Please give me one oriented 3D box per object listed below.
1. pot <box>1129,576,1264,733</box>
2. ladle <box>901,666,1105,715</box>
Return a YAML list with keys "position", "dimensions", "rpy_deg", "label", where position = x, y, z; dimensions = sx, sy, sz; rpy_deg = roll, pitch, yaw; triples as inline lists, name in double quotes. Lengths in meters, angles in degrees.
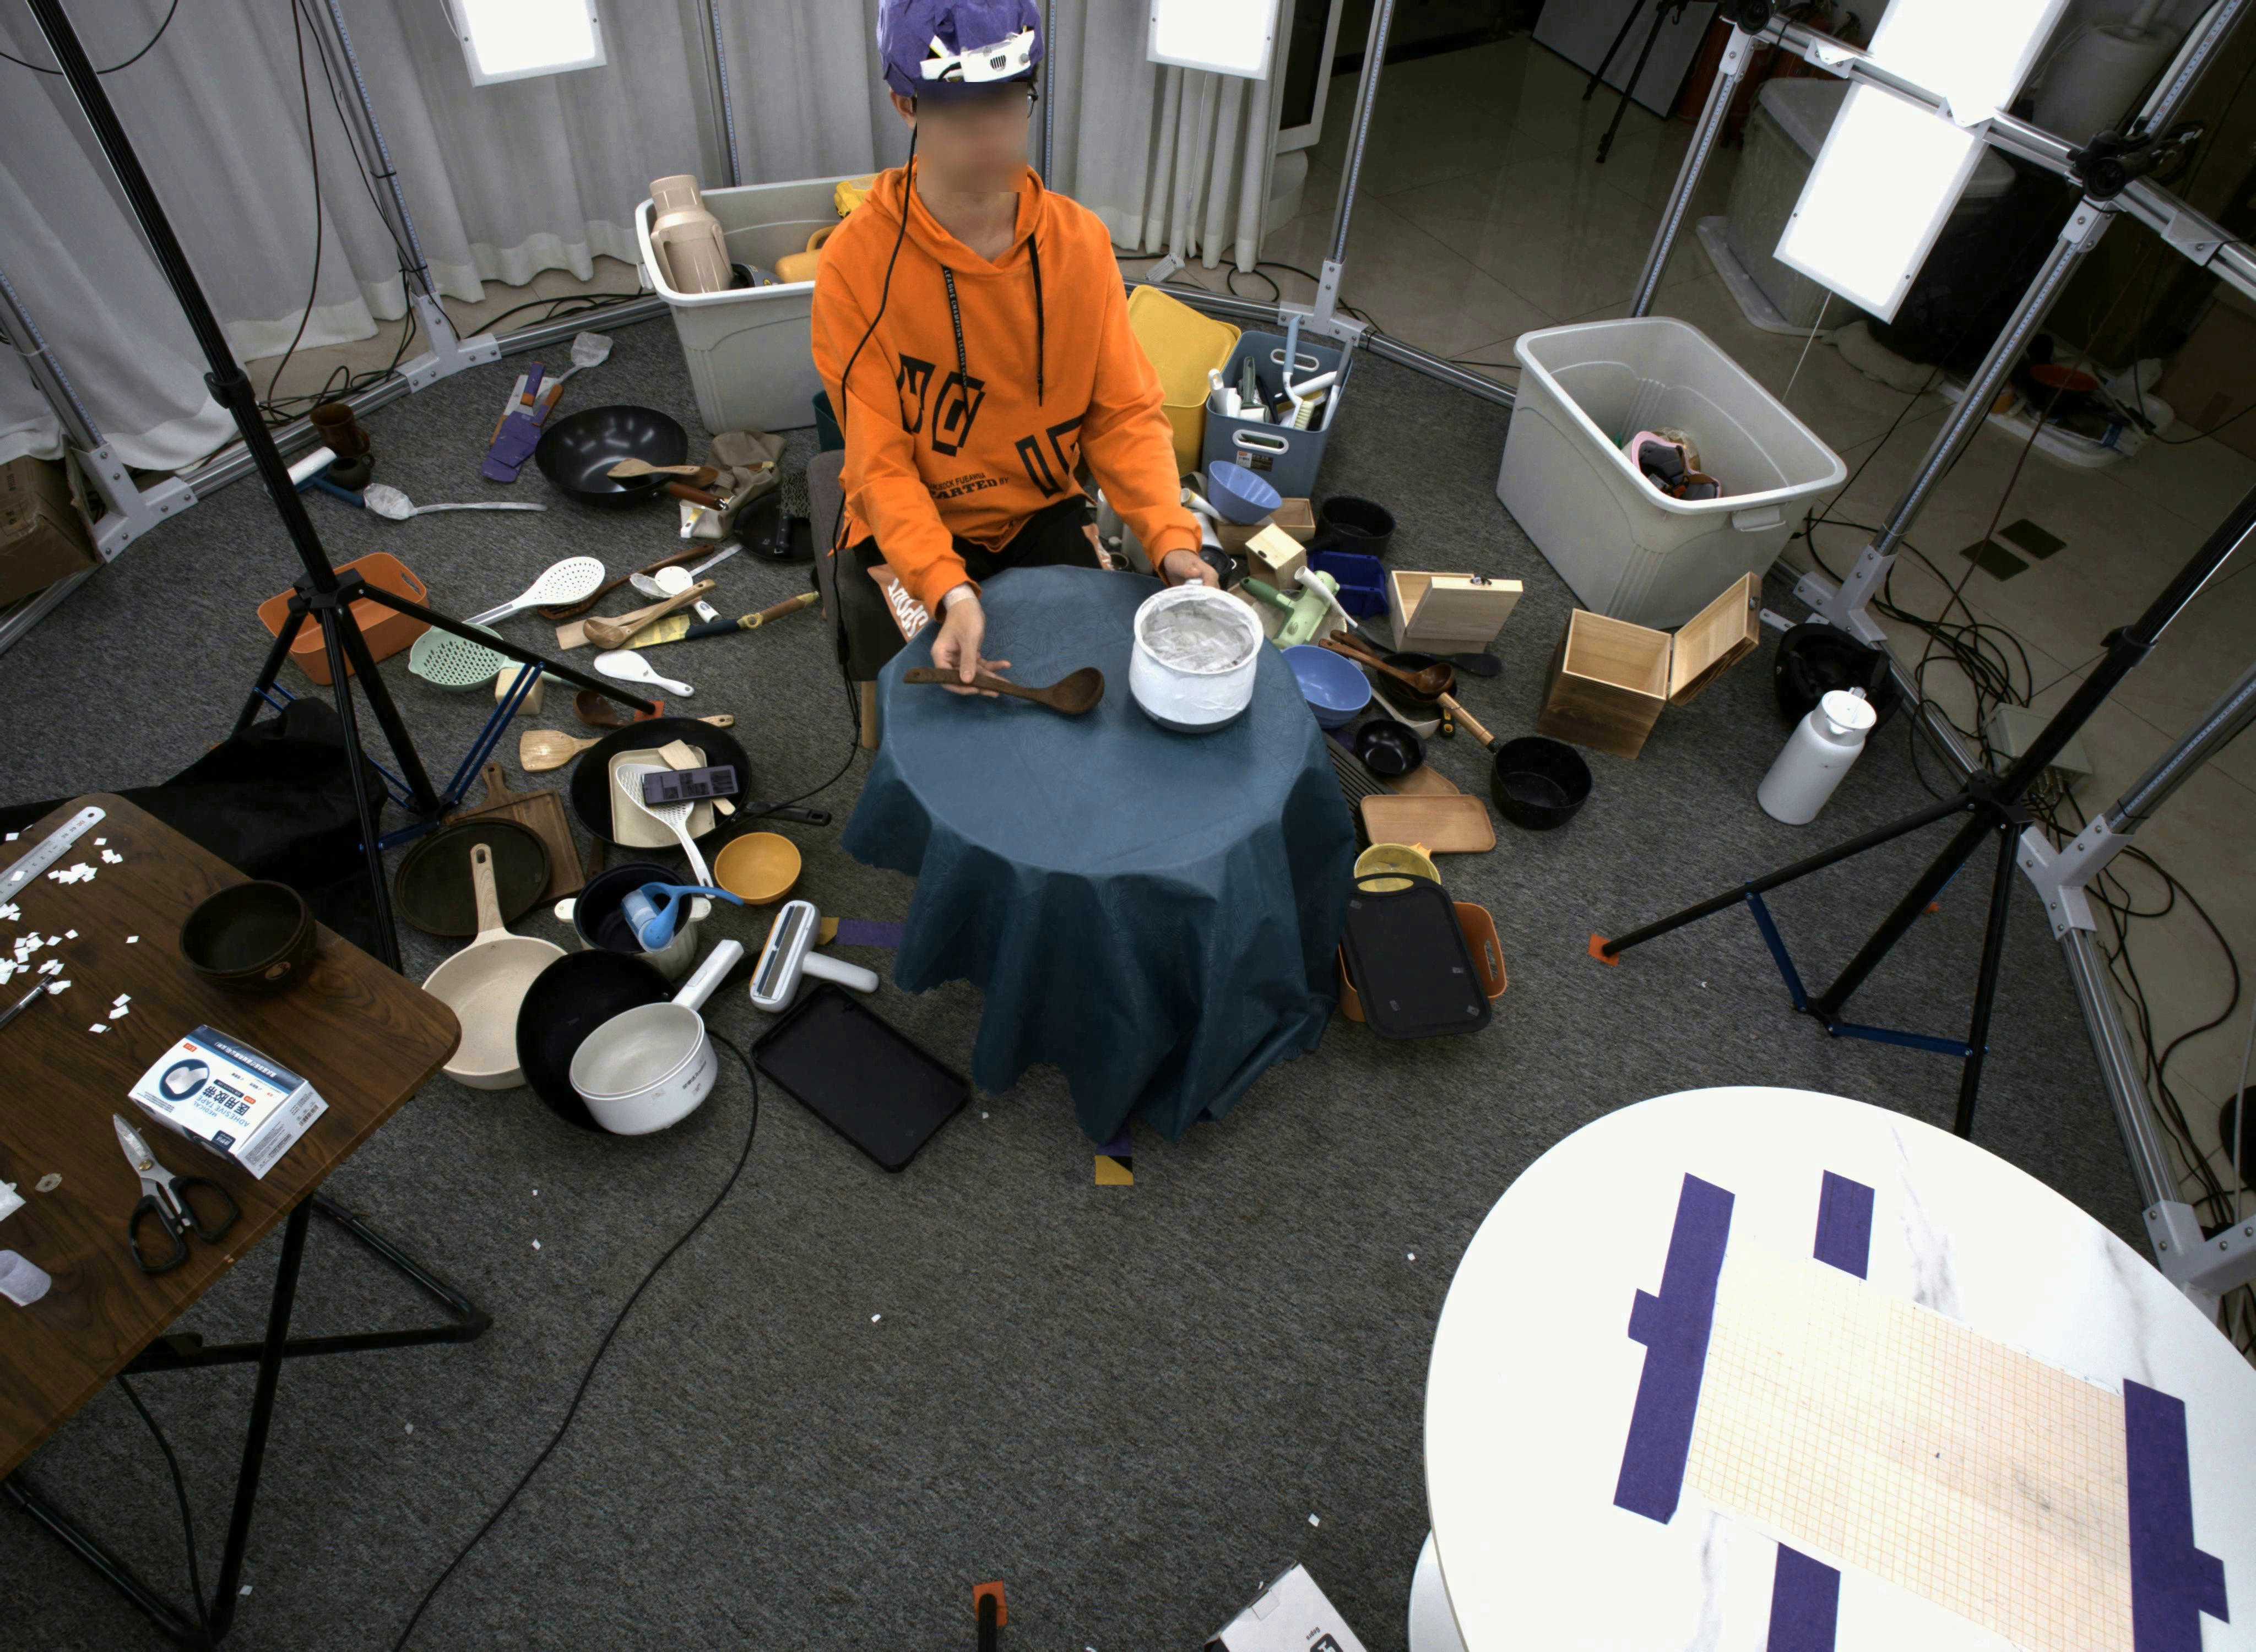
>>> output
- position: [0.090, -0.249, 1.801]
  dimensions: [0.178, 0.133, 0.239]
  rpy_deg: [1, 50, -5]
  label: "pot"
- position: [-0.169, -0.204, 1.767]
  dimensions: [0.273, 0.070, 0.078]
  rpy_deg: [10, 47, -12]
  label: "ladle"
